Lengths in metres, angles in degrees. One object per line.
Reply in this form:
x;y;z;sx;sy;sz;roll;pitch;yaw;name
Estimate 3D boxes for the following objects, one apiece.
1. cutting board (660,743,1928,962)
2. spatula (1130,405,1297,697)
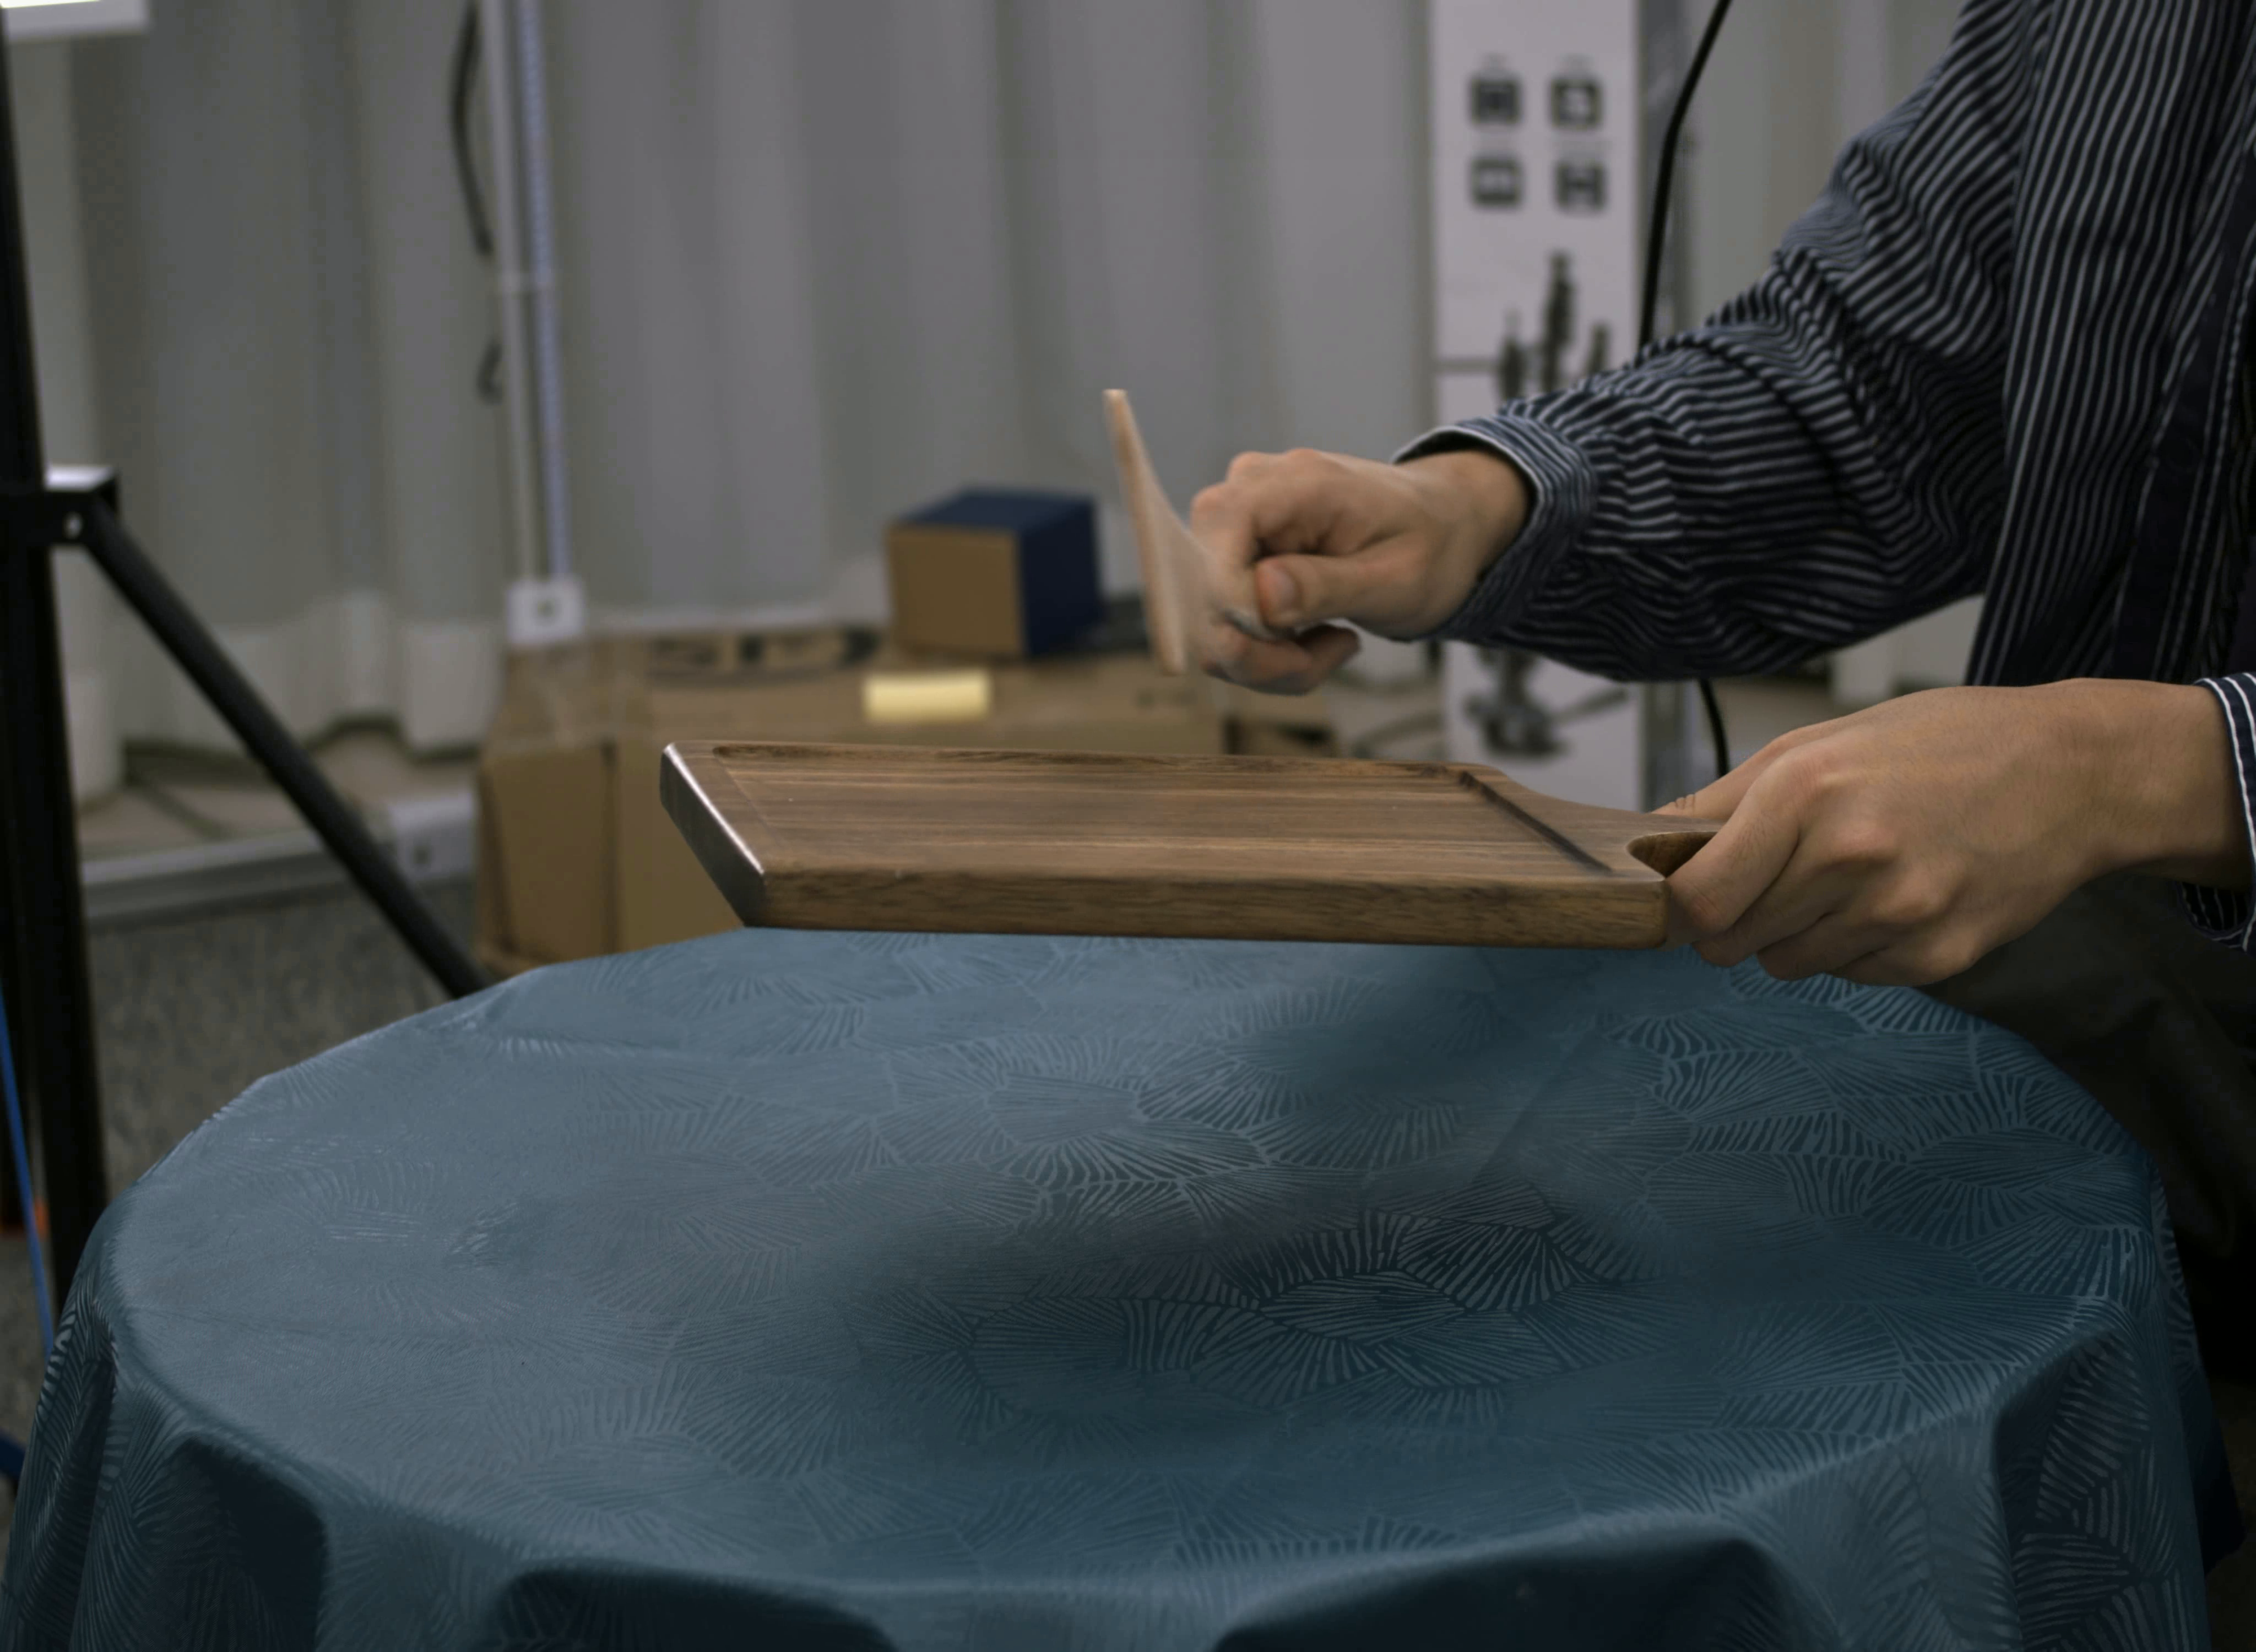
0.054;0.008;1.470;0.348;0.023;0.203;2;10;-9;cutting board
0.030;-0.071;1.591;0.016;0.080;0.324;-10;-3;9;spatula
